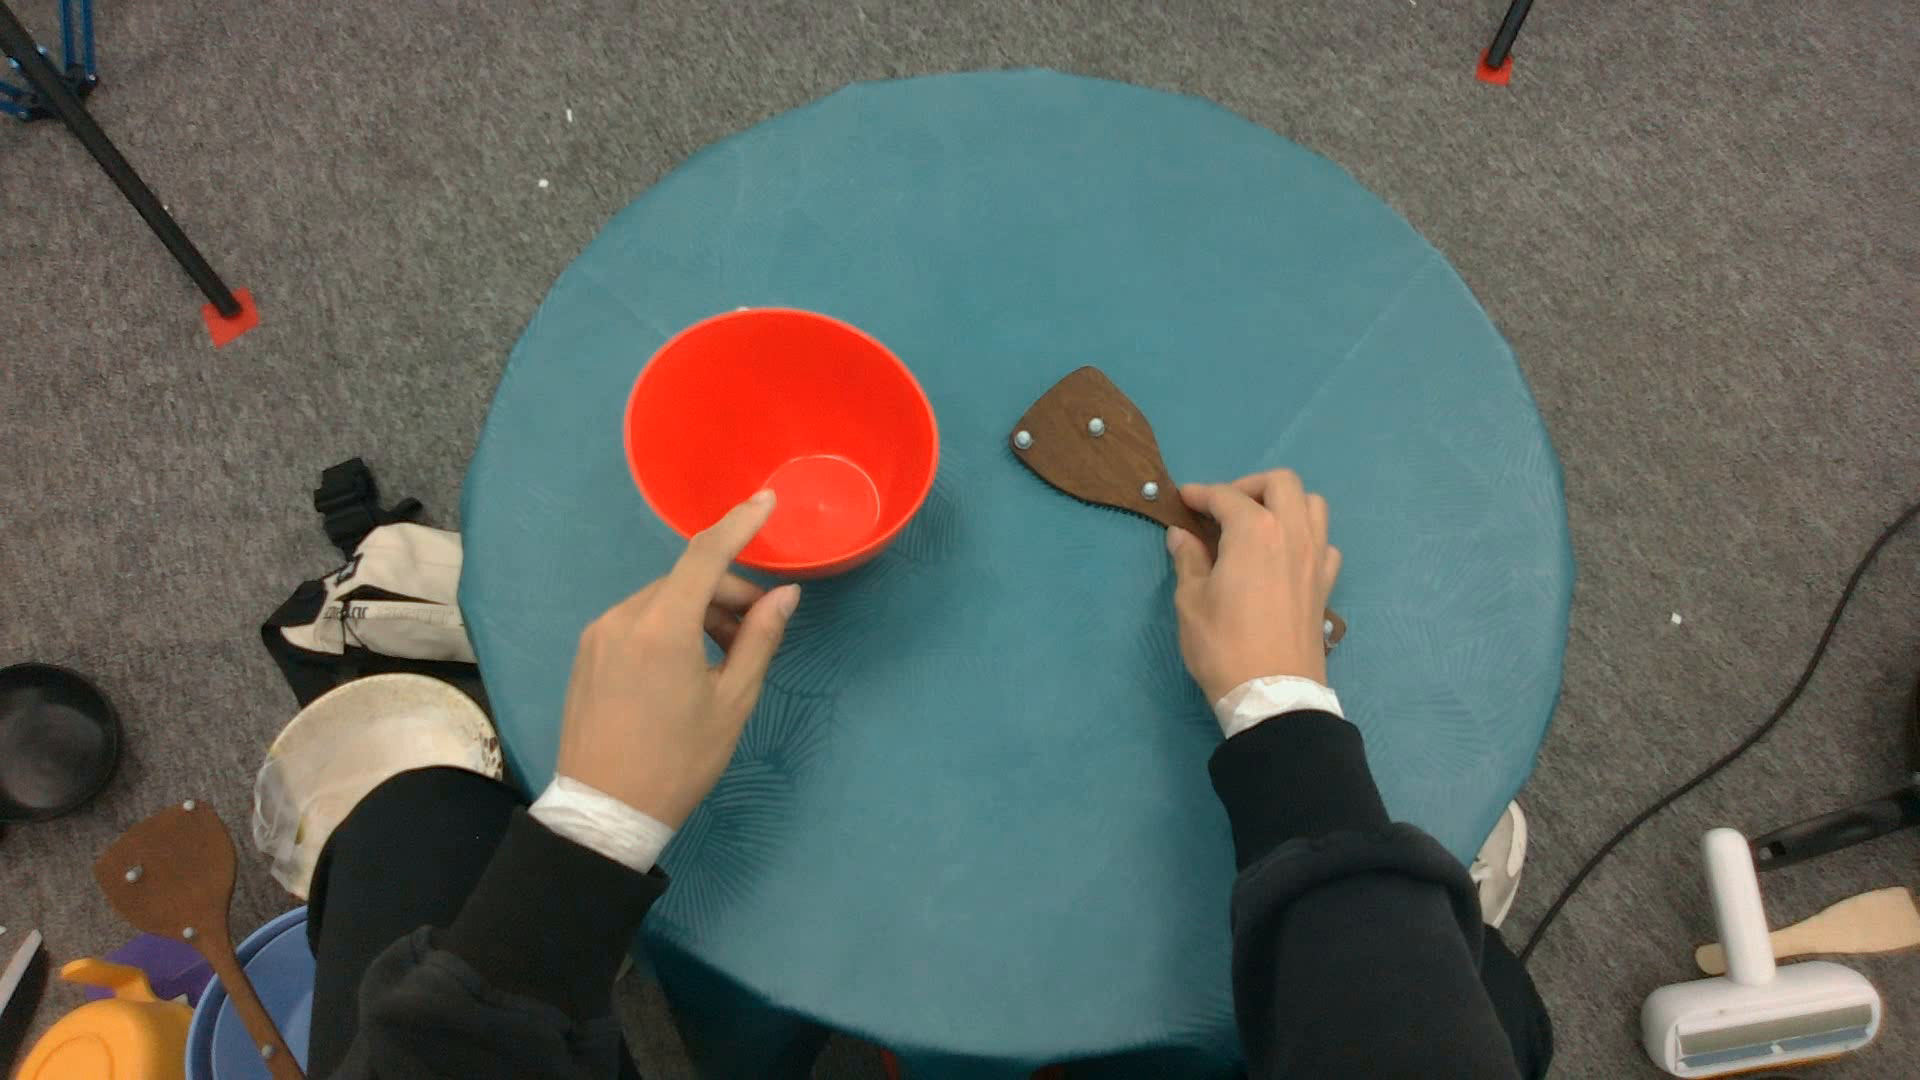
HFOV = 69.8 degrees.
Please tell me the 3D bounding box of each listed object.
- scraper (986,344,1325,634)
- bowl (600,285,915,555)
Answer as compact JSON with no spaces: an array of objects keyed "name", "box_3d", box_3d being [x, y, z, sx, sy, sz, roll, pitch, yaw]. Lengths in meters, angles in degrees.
[{"name":"scraper","box_3d":[0.109,-0.024,0.746,0.211,0.011,0.076,41,69,16]},{"name":"bowl","box_3d":[-0.097,-0.047,0.697,0.148,0.104,0.148,1,64,-2]}]
